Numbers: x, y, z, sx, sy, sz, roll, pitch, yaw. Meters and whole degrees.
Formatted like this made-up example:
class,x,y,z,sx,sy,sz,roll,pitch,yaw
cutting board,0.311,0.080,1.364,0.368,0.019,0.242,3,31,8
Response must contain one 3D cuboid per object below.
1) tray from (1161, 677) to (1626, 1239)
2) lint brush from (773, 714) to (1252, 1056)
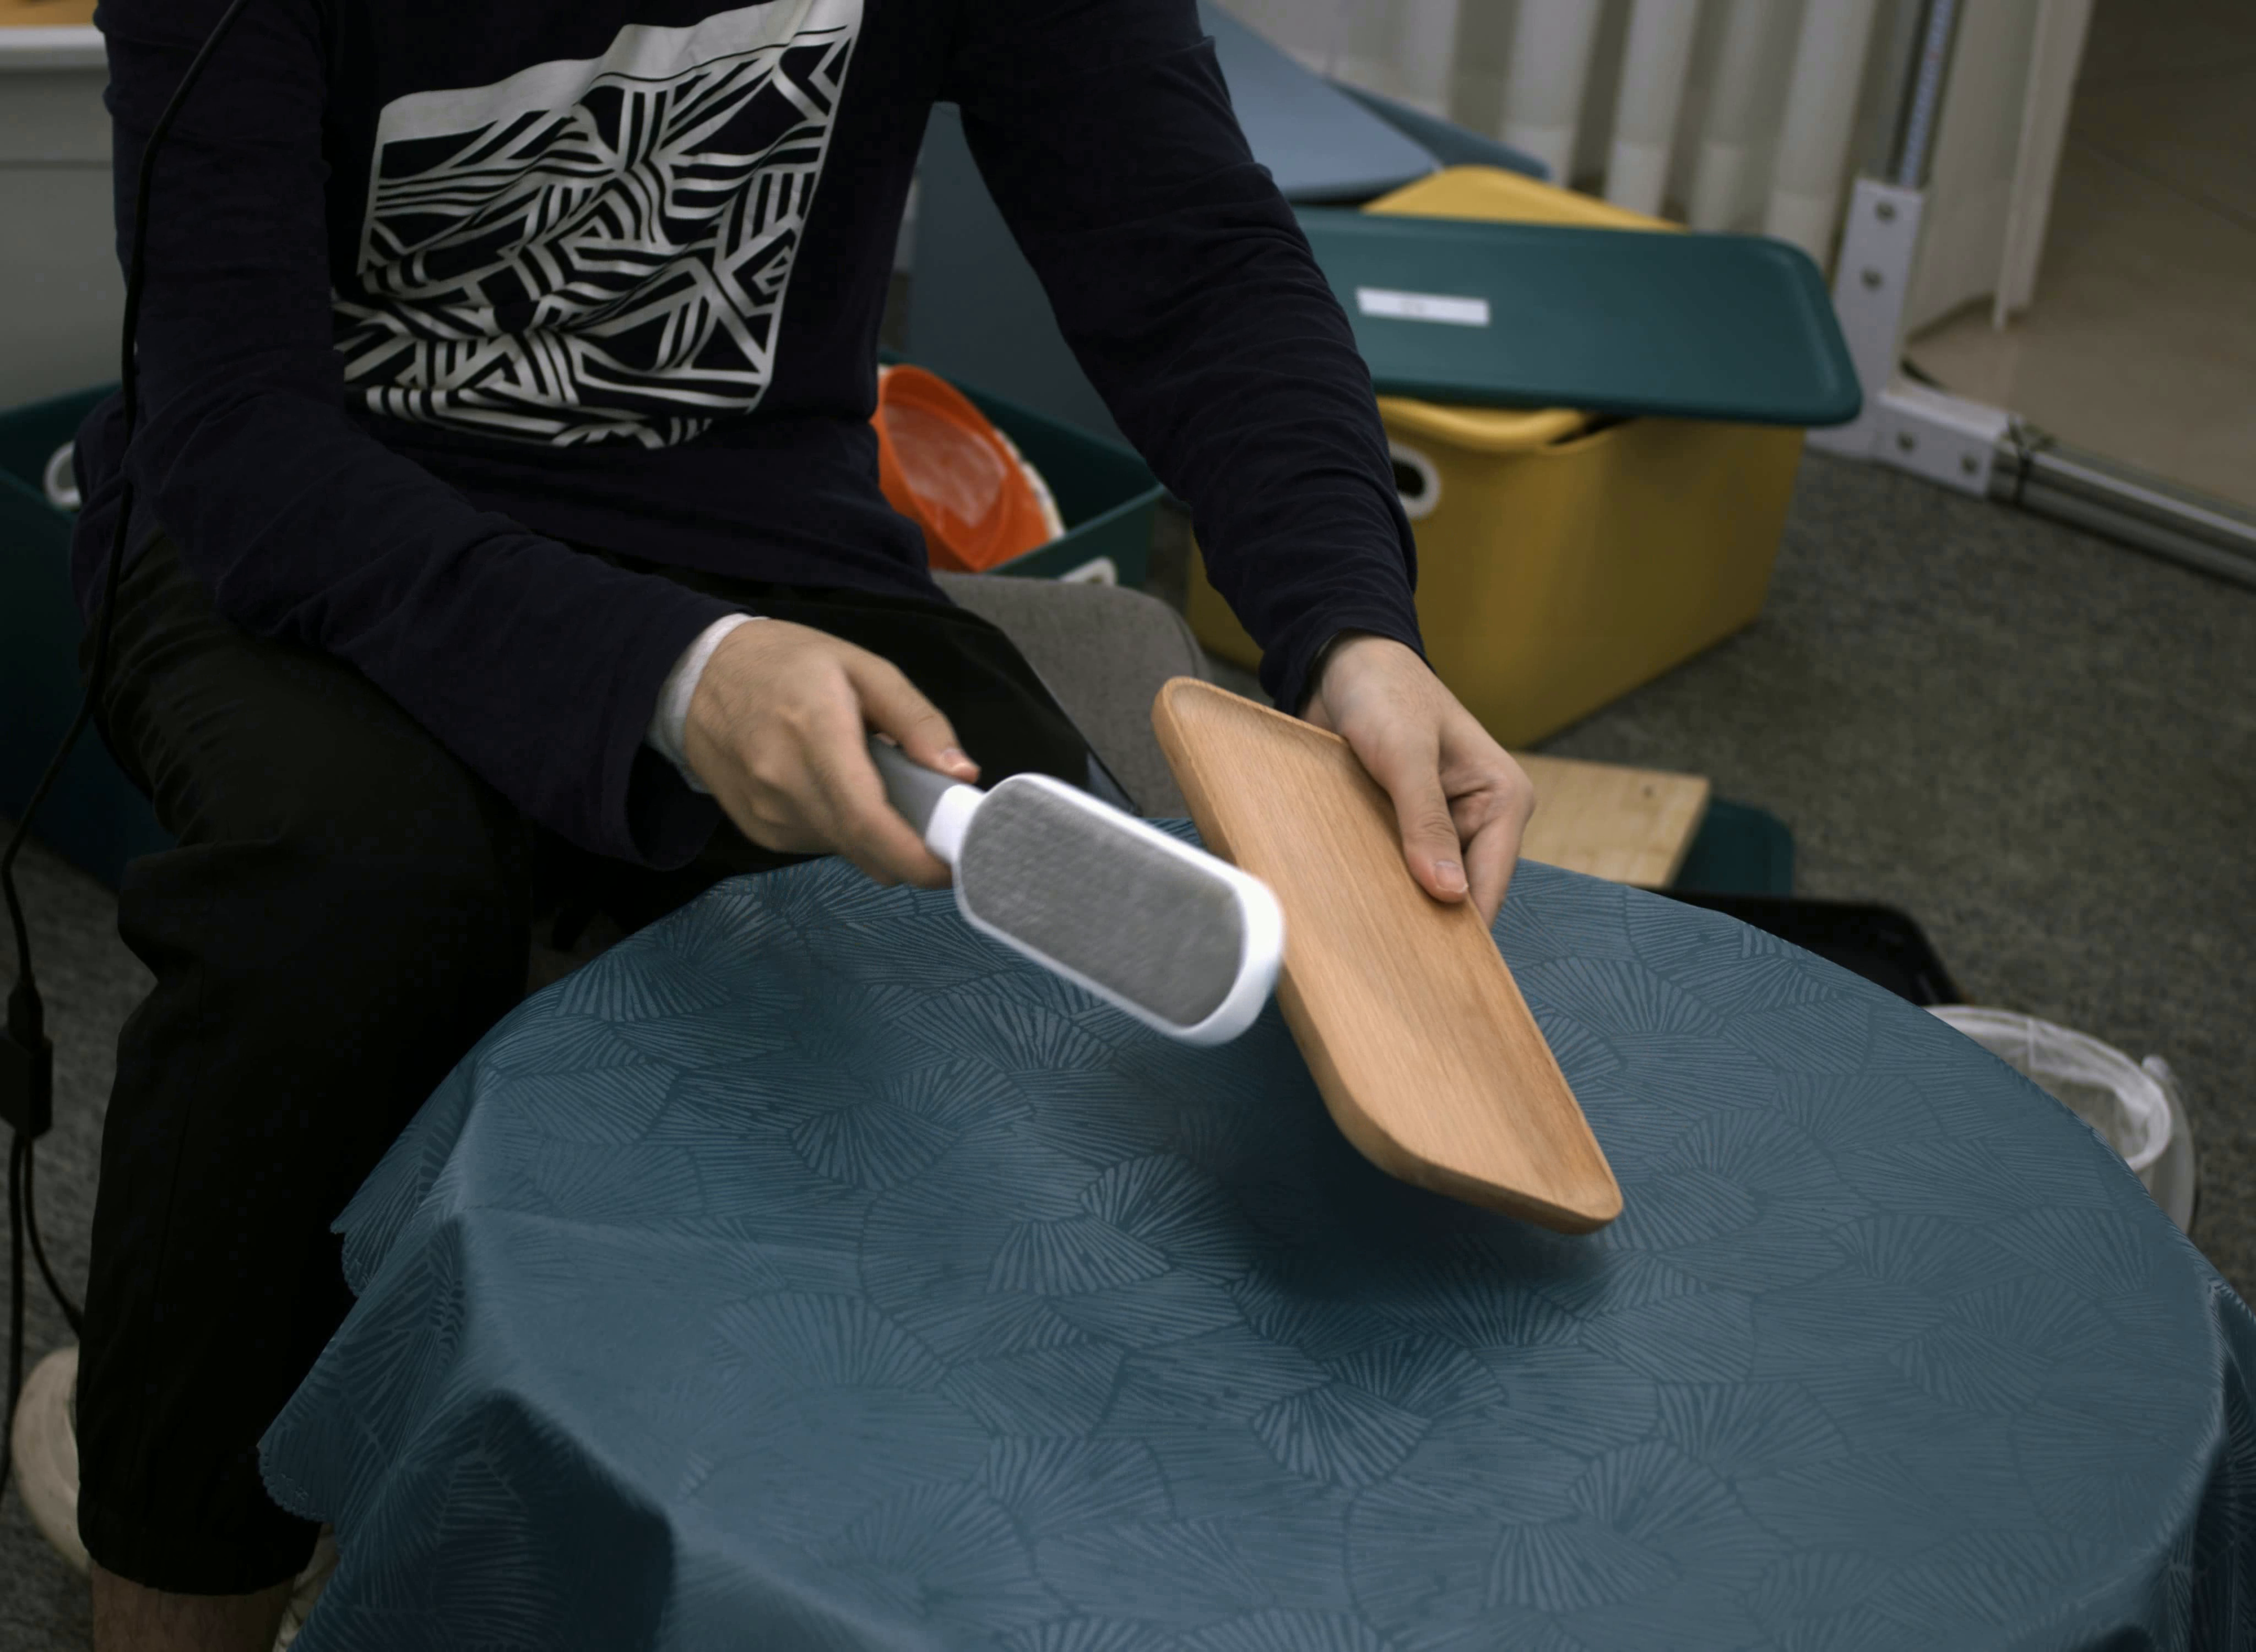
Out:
class,x,y,z,sx,sy,sz,roll,pitch,yaw
tray,0.088,0.044,1.842,0.129,0.023,0.253,23,29,-33
lint brush,-0.044,0.010,1.798,0.021,0.060,0.311,12,9,-33
